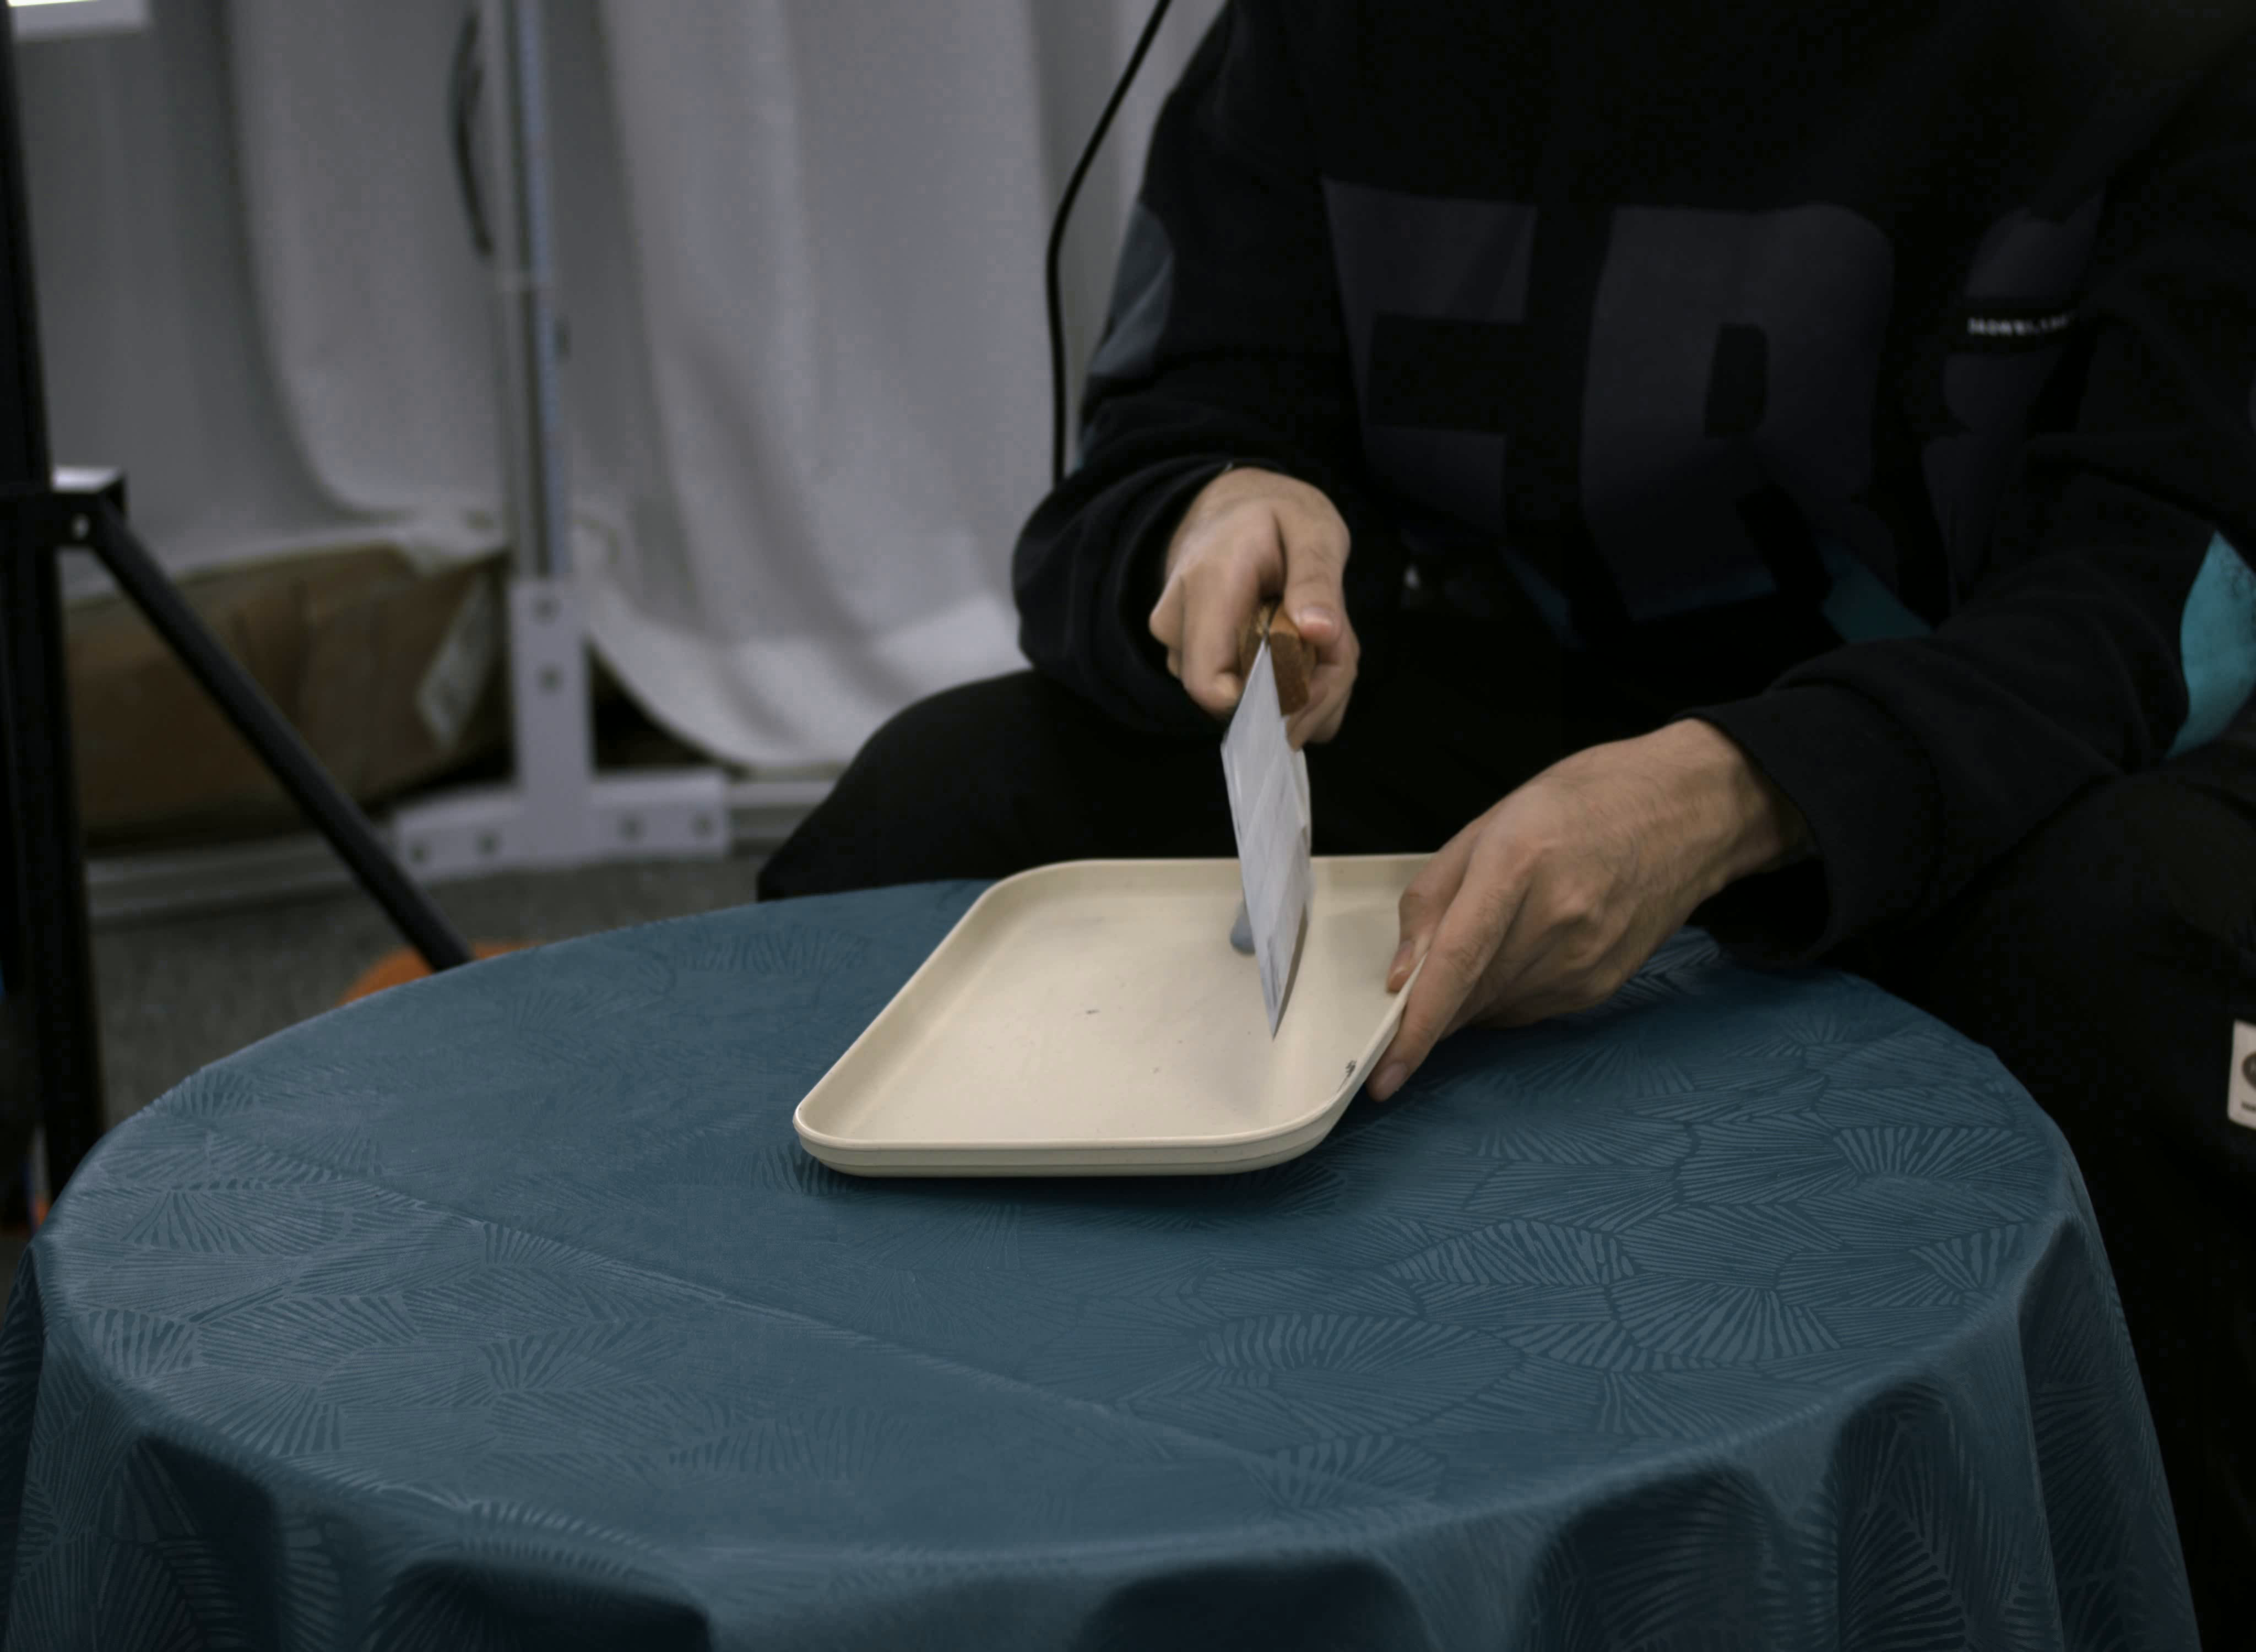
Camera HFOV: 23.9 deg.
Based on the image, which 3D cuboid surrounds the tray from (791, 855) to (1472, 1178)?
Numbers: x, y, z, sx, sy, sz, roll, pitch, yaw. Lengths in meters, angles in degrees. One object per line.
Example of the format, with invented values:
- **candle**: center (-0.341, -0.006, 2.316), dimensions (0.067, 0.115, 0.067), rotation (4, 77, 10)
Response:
- **tray**: center (0.006, 0.059, 1.651), dimensions (0.173, 0.017, 0.237), rotation (-2, 19, 20)

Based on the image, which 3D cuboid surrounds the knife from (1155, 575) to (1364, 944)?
- **knife**: center (0.050, -0.021, 1.681), dimensions (0.021, 0.093, 0.304), rotation (-21, 6, 14)
